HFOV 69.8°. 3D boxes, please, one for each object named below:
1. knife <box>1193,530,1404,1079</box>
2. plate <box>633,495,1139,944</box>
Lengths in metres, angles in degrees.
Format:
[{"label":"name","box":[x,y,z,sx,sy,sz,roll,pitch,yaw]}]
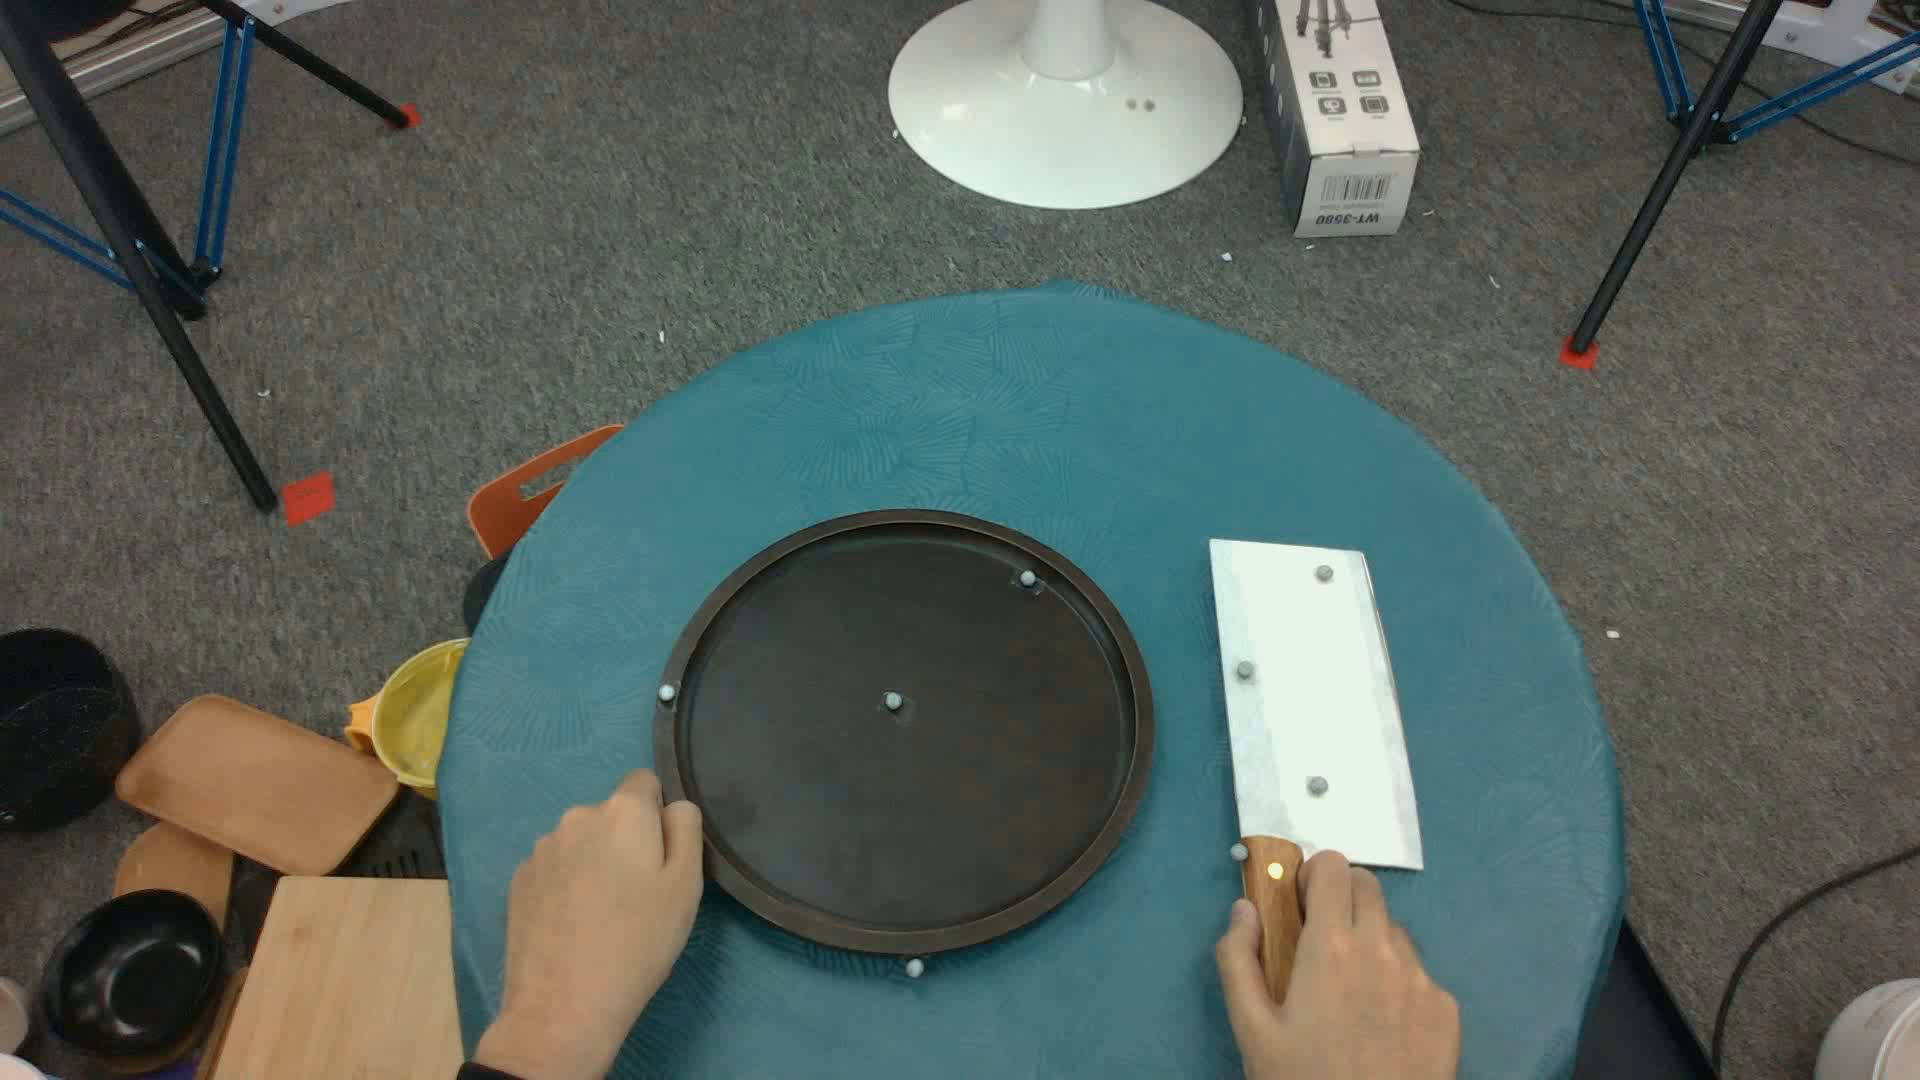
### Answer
[{"label":"knife","box":[0.172,0.117,0.686,0.093,0.021,0.307,5,53,-5]},{"label":"plate","box":[-0.036,0.082,0.699,0.255,0.029,0.256,0,54,0]}]
